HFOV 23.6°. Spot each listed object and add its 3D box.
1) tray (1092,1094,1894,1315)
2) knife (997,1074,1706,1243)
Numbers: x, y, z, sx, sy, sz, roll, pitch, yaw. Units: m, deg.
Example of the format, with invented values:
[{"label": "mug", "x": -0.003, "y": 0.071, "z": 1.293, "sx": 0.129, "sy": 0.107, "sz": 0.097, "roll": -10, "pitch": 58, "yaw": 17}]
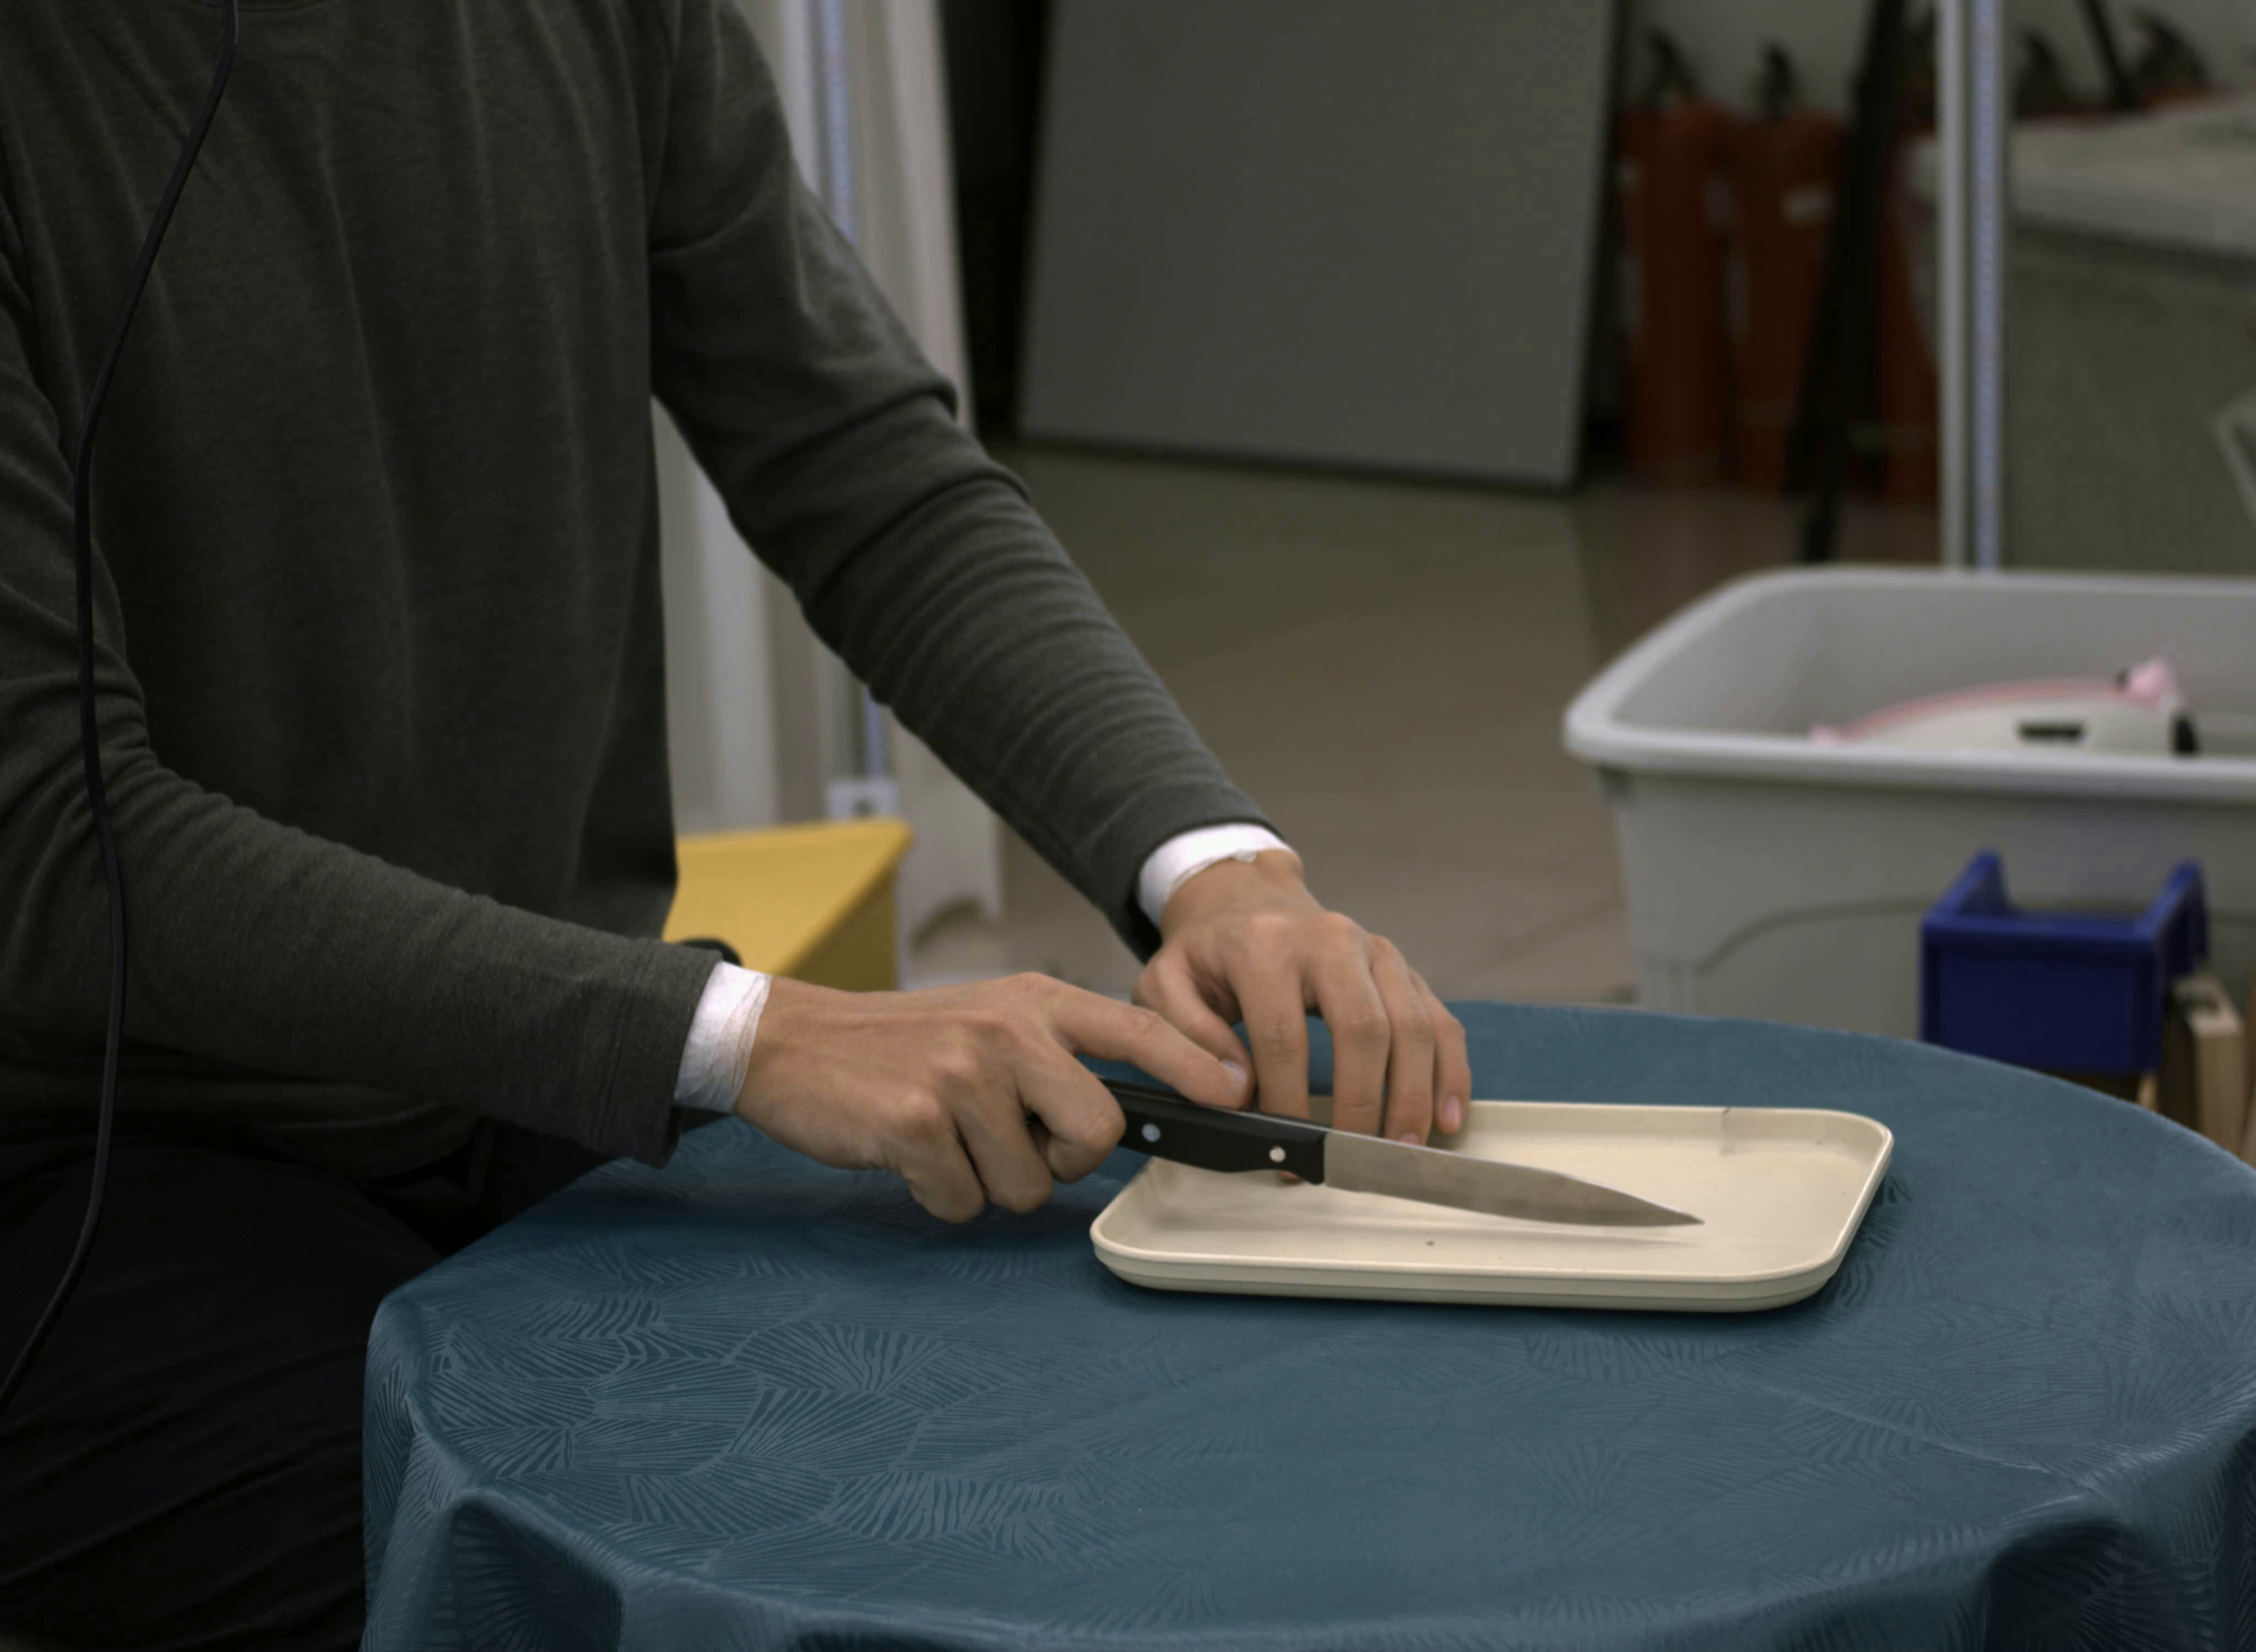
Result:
[{"label": "tray", "x": 0.118, "y": 0.120, "z": 1.708, "sx": 0.239, "sy": 0.017, "sz": 0.170, "roll": 1, "pitch": 15, "yaw": 19}, {"label": "knife", "x": 0.069, "y": 0.107, "z": 1.710, "sx": 0.238, "sy": 0.024, "sz": 0.016, "roll": 10, "pitch": 33, "yaw": 19}]
